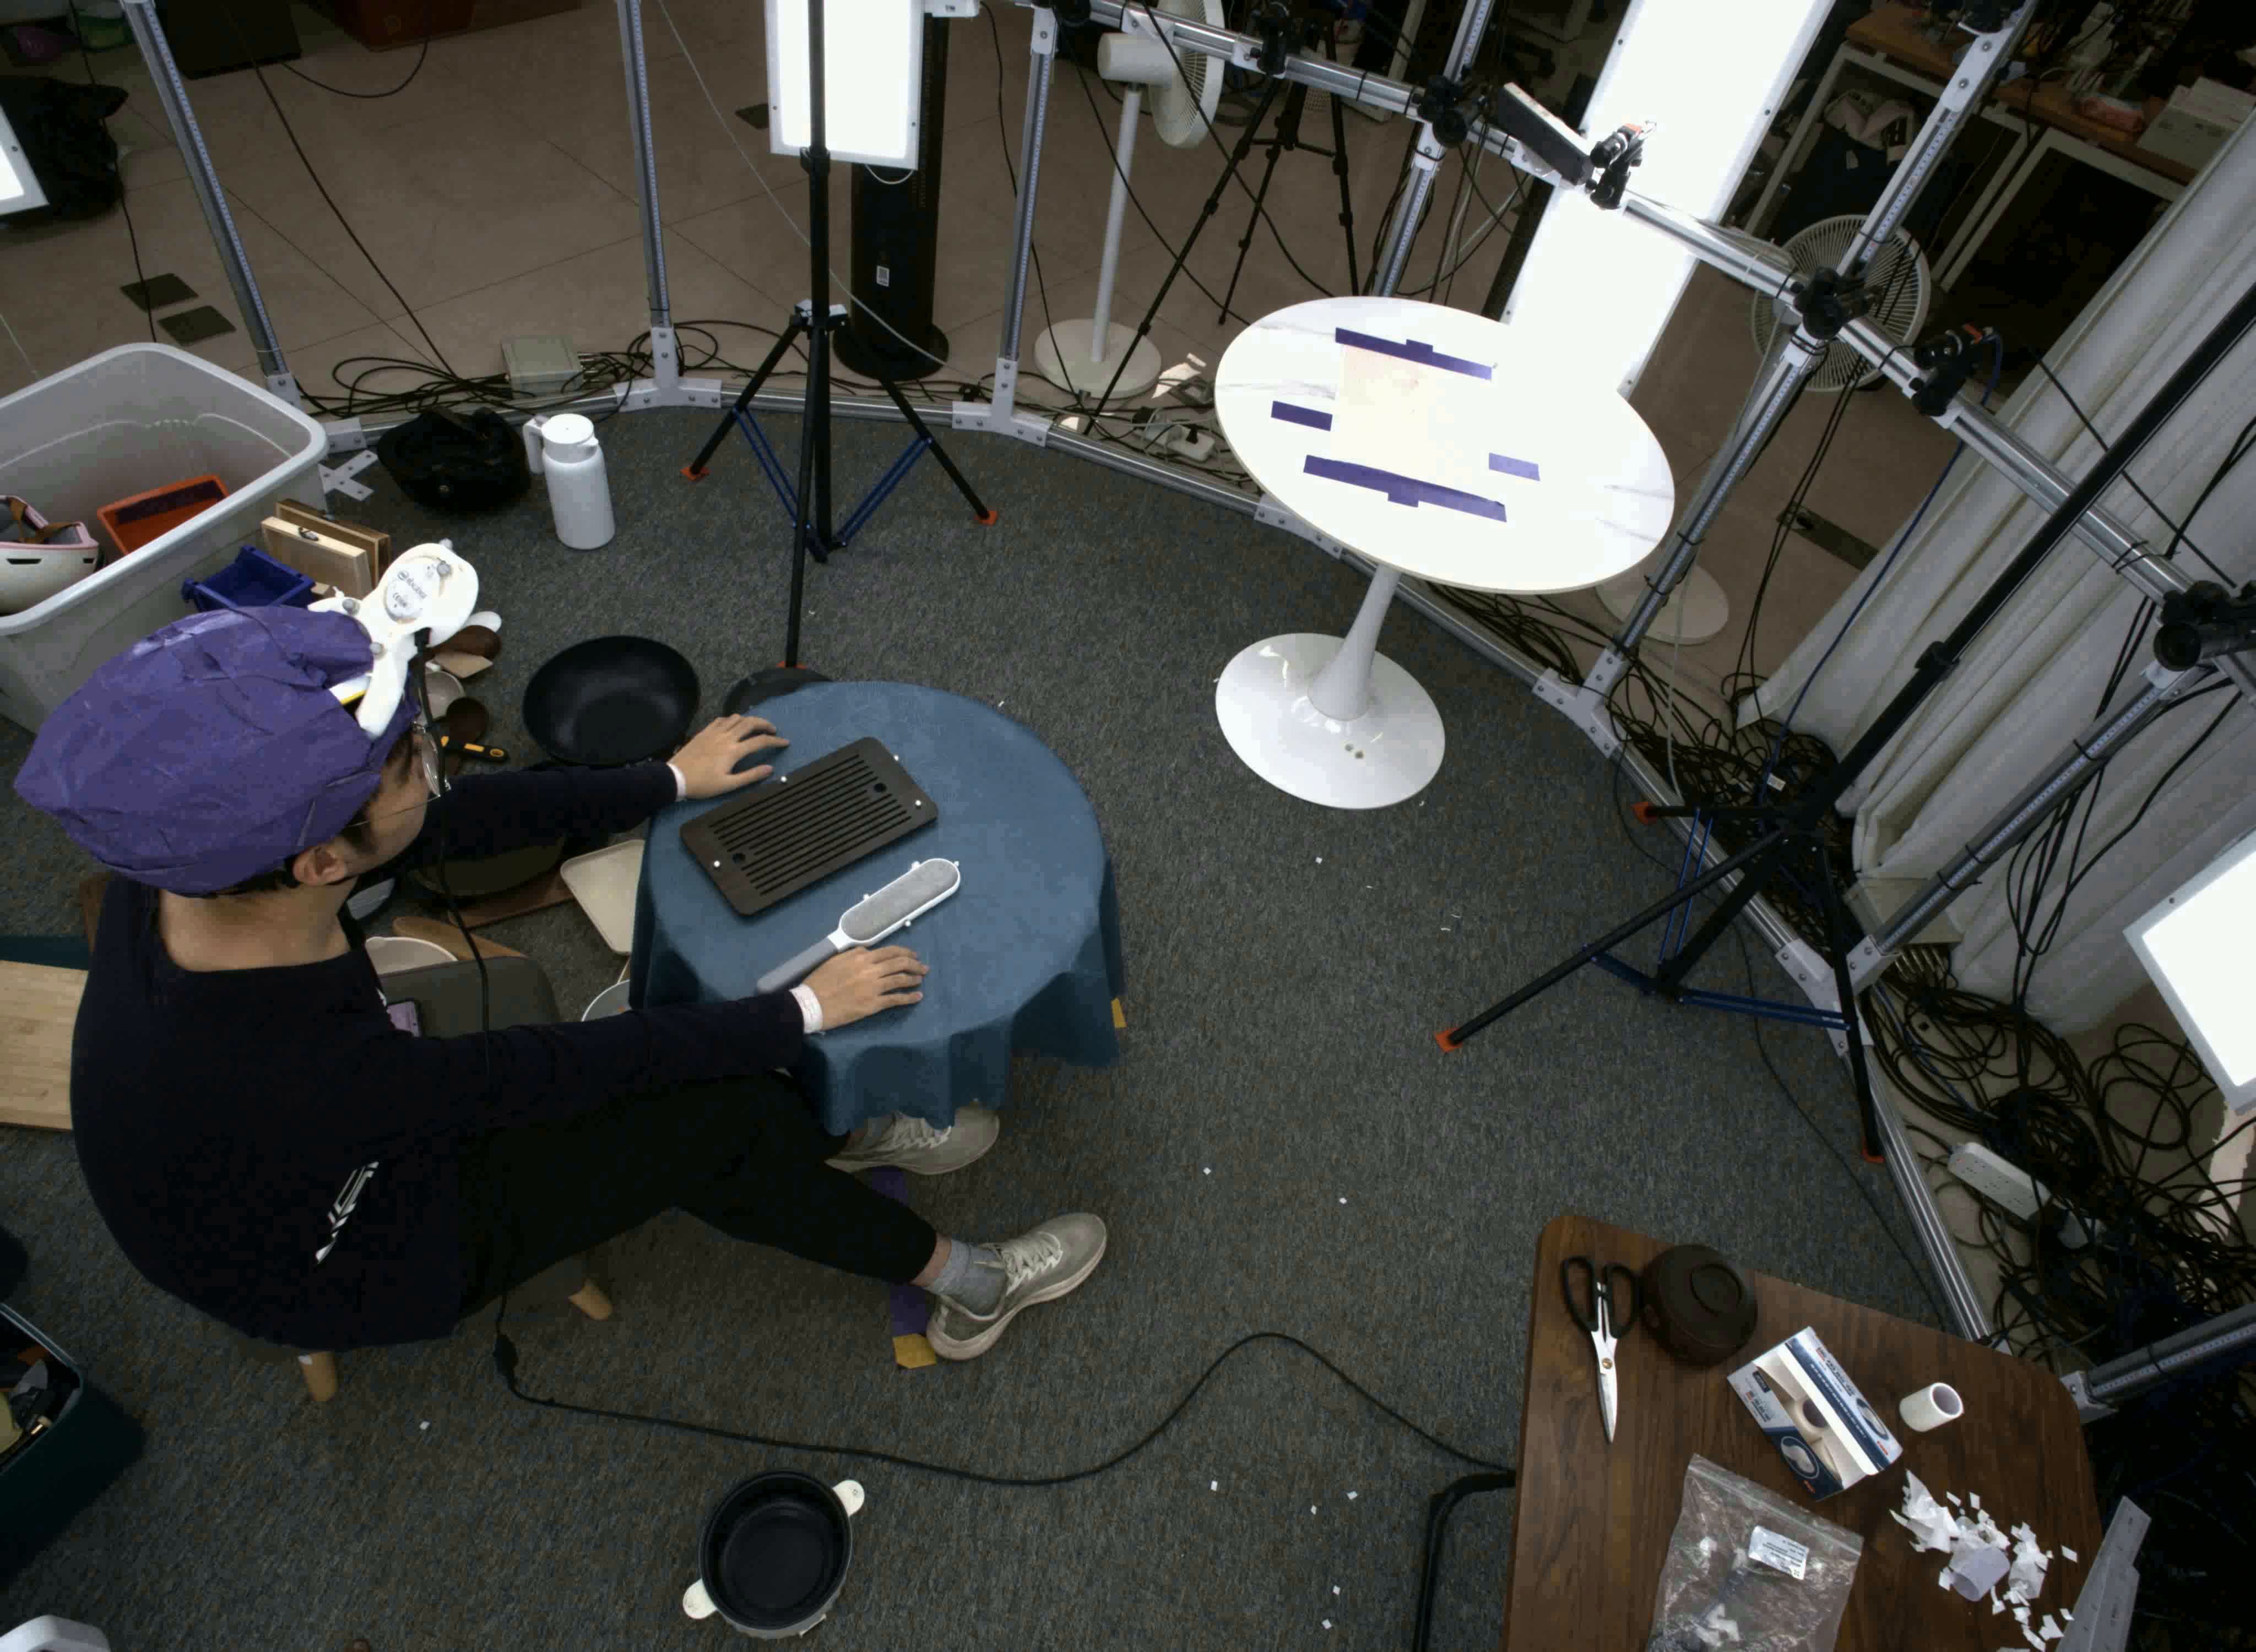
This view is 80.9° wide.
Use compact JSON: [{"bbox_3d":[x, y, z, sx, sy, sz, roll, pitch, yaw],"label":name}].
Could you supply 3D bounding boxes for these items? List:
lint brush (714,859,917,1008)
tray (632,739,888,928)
[{"bbox_3d":[-0.390,0.130,1.630,0.059,0.021,0.309,45,56,13],"label":"lint brush"},{"bbox_3d":[-0.483,0.004,1.706,0.307,0.019,0.166,-34,68,-32],"label":"tray"}]
